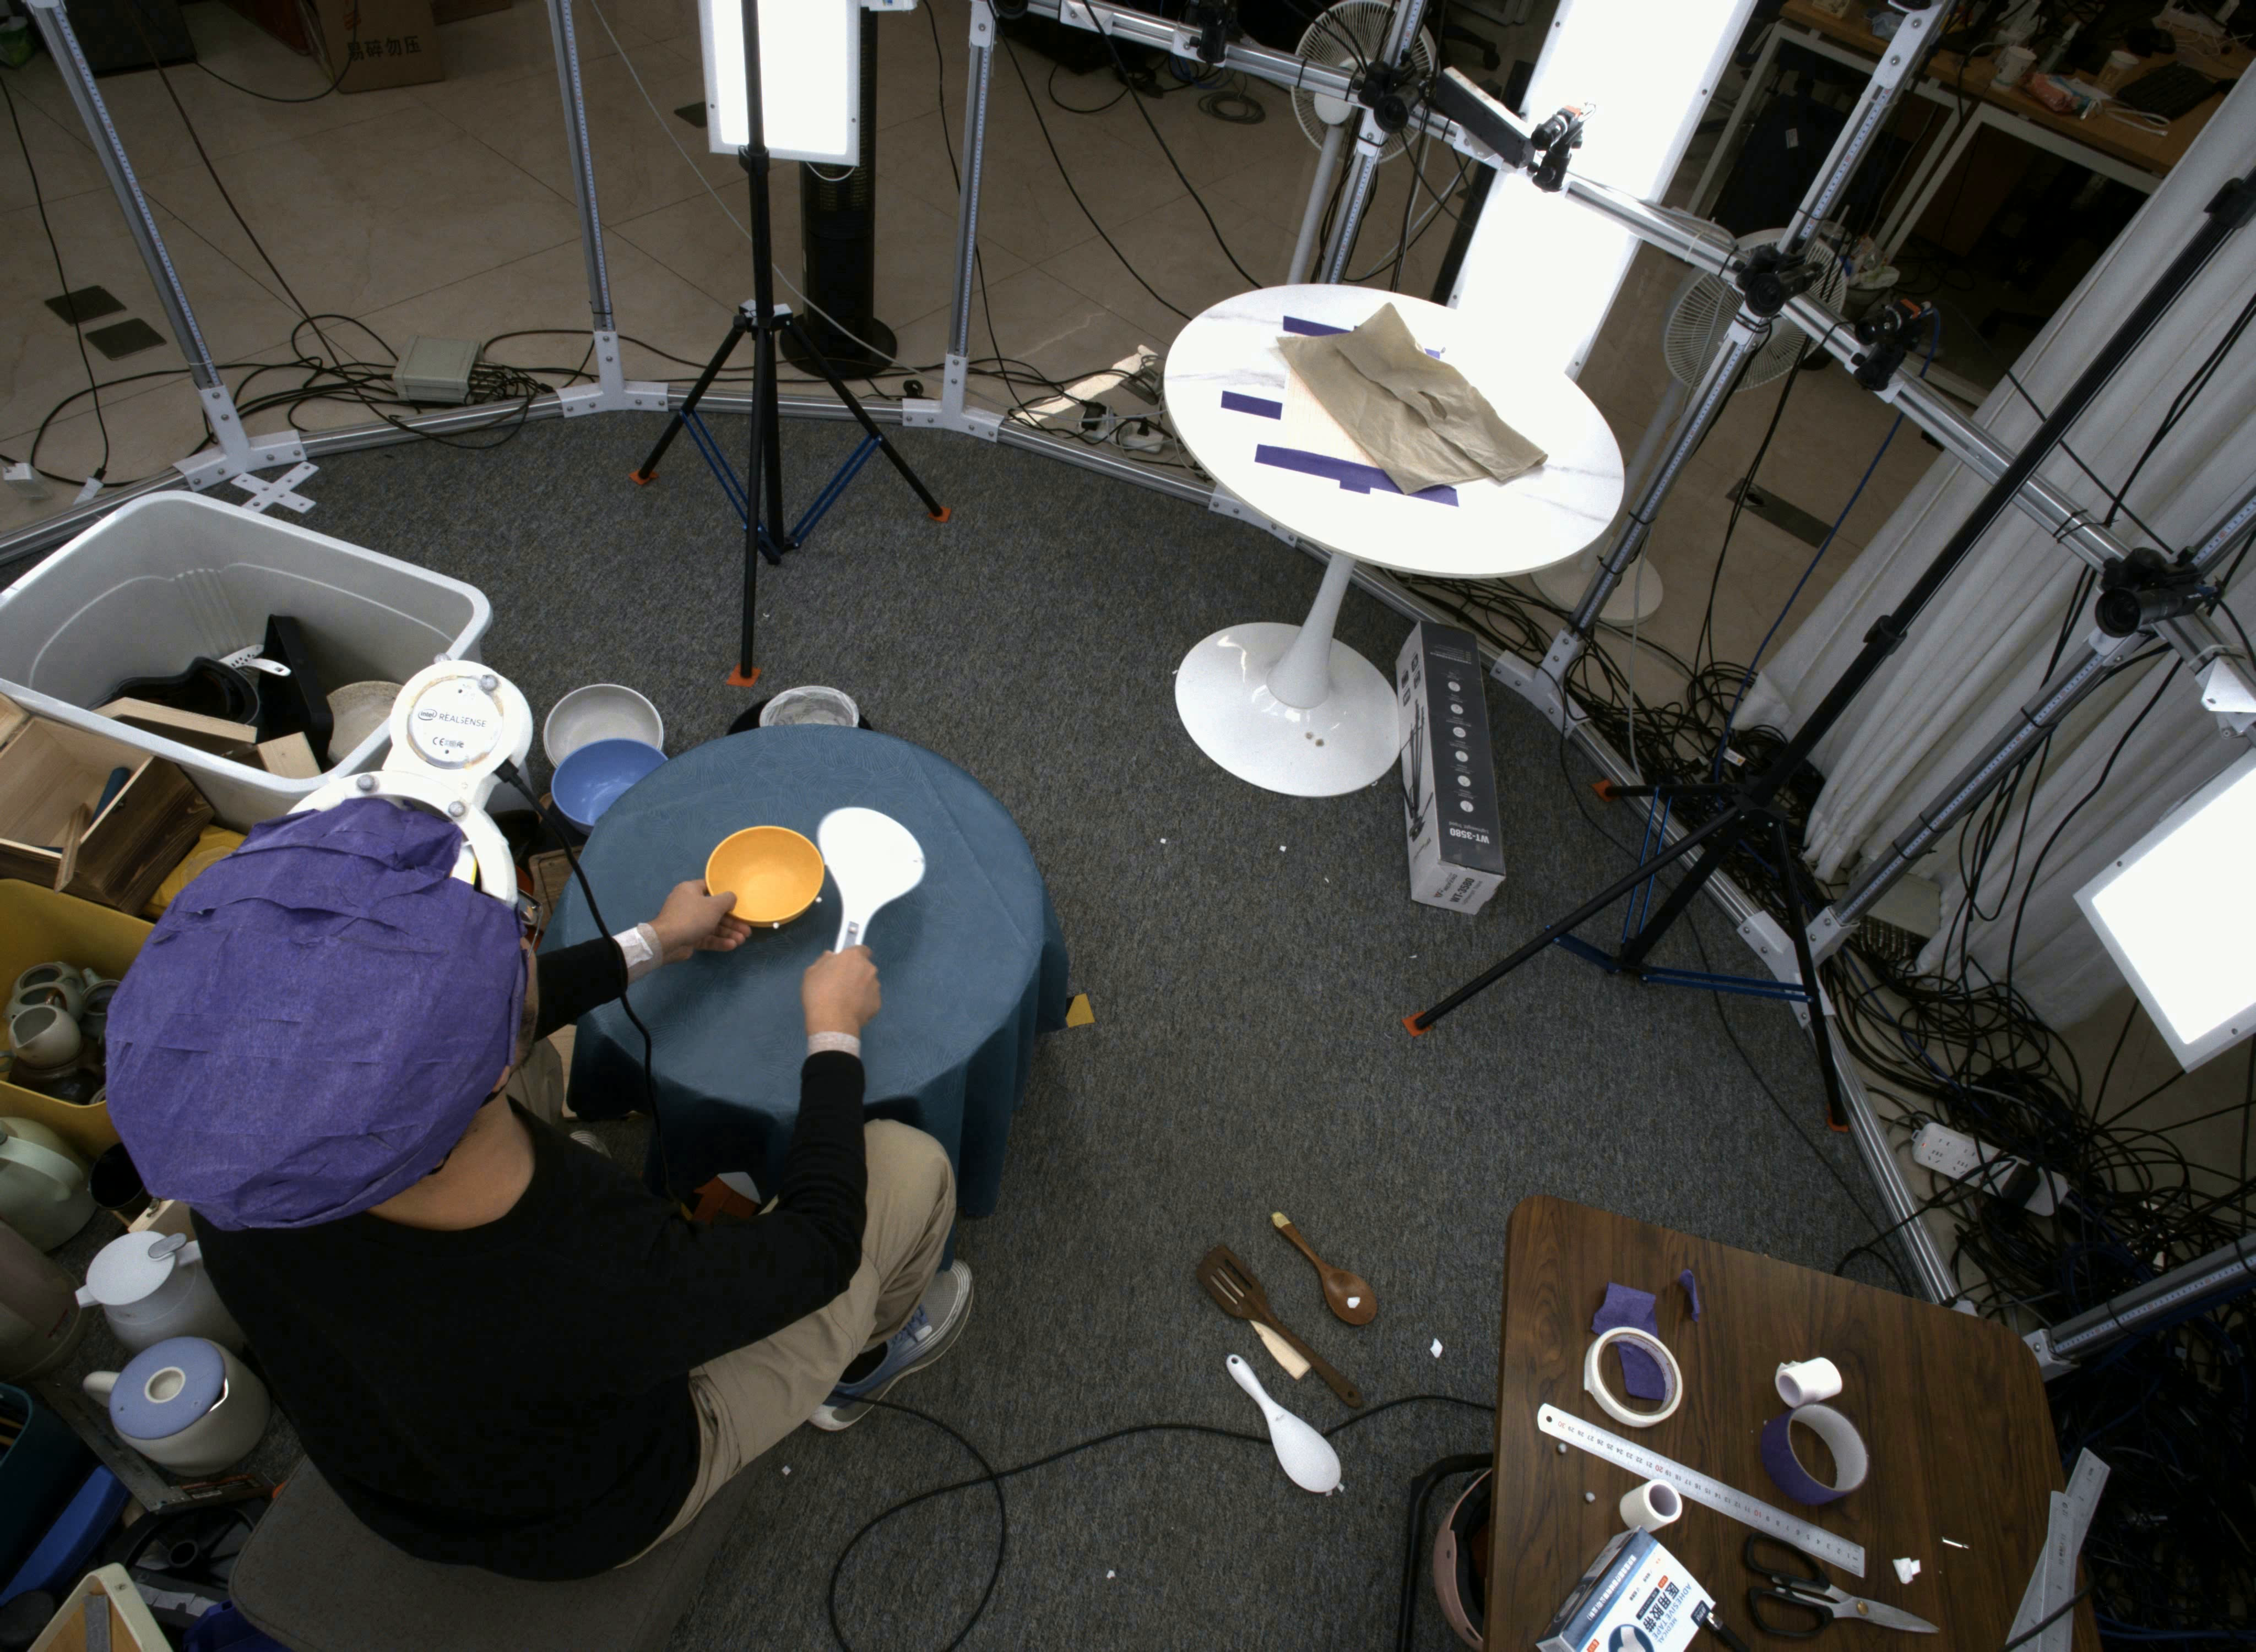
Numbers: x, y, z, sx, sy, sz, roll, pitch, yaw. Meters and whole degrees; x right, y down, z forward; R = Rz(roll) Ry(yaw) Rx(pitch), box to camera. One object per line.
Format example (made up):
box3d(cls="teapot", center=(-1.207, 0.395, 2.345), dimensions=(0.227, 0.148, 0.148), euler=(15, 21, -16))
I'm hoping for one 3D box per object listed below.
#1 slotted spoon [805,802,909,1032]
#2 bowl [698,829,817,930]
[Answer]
box3d(cls="slotted spoon", center=(-0.334, 0.098, 1.525), dimensions=(0.138, 0.046, 0.341), euler=(24, 34, -22))
box3d(cls="bowl", center=(-0.460, 0.076, 1.616), dimensions=(0.145, 0.061, 0.142), euler=(8, 51, -8))
